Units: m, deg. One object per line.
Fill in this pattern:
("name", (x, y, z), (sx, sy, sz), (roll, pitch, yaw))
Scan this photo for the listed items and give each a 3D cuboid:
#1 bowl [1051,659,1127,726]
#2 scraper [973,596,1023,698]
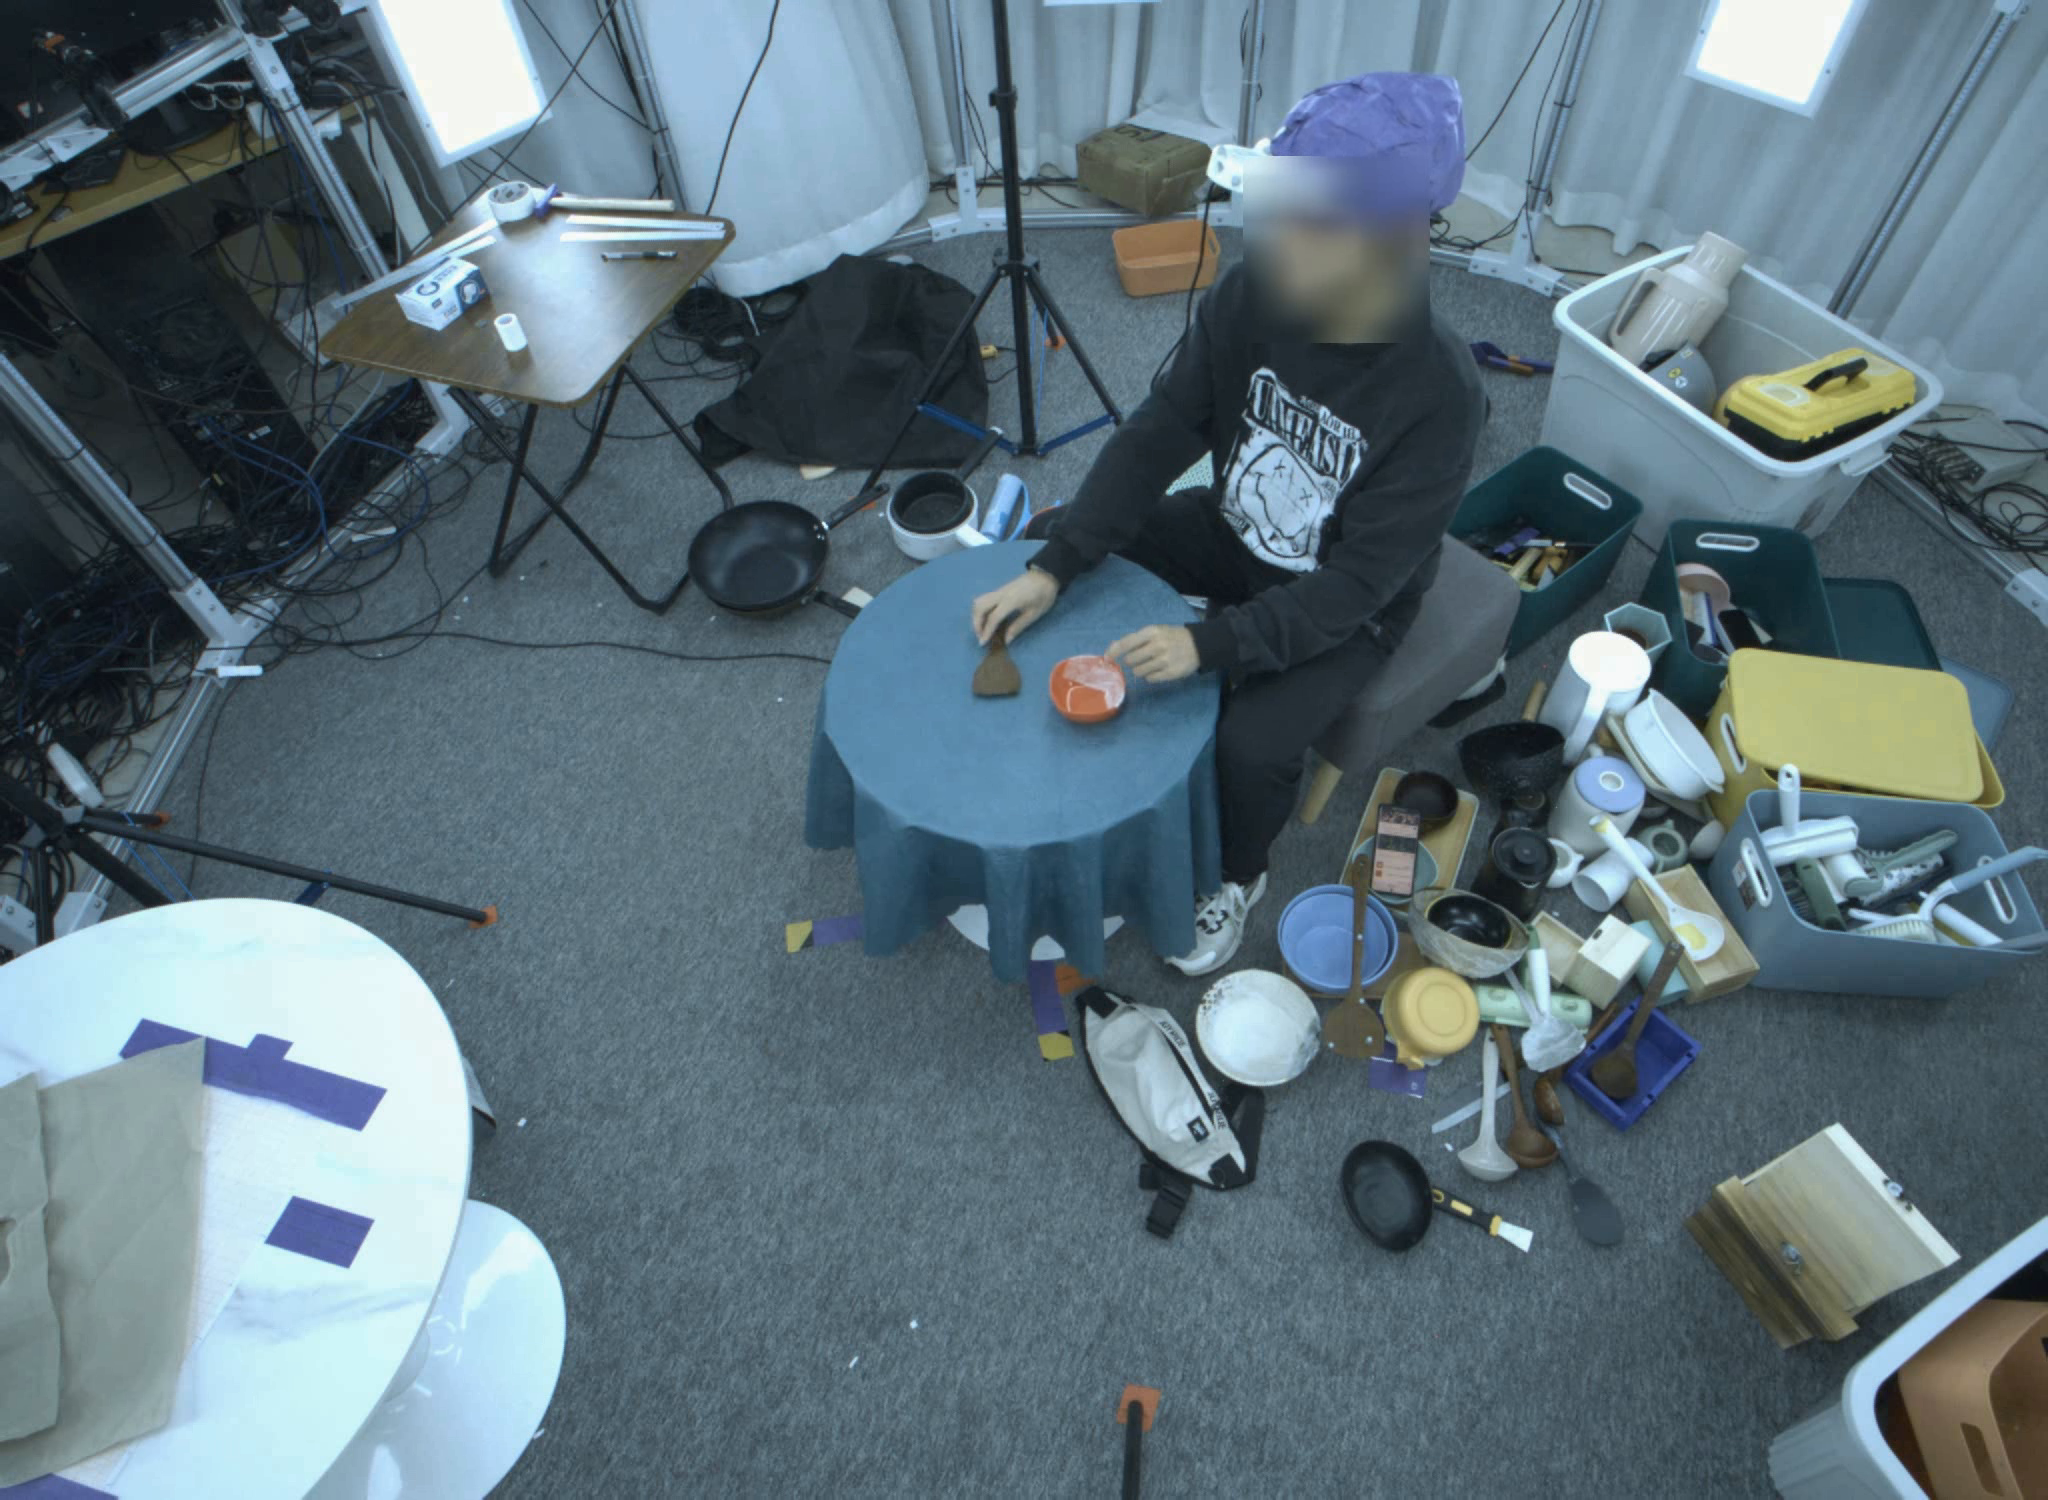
("bowl", (0.096, -0.077, 1.820), (0.119, 0.052, 0.117), (-1, 54, 3))
("scraper", (-0.041, -0.161, 1.908), (0.076, 0.011, 0.209), (-1, 54, 0))
